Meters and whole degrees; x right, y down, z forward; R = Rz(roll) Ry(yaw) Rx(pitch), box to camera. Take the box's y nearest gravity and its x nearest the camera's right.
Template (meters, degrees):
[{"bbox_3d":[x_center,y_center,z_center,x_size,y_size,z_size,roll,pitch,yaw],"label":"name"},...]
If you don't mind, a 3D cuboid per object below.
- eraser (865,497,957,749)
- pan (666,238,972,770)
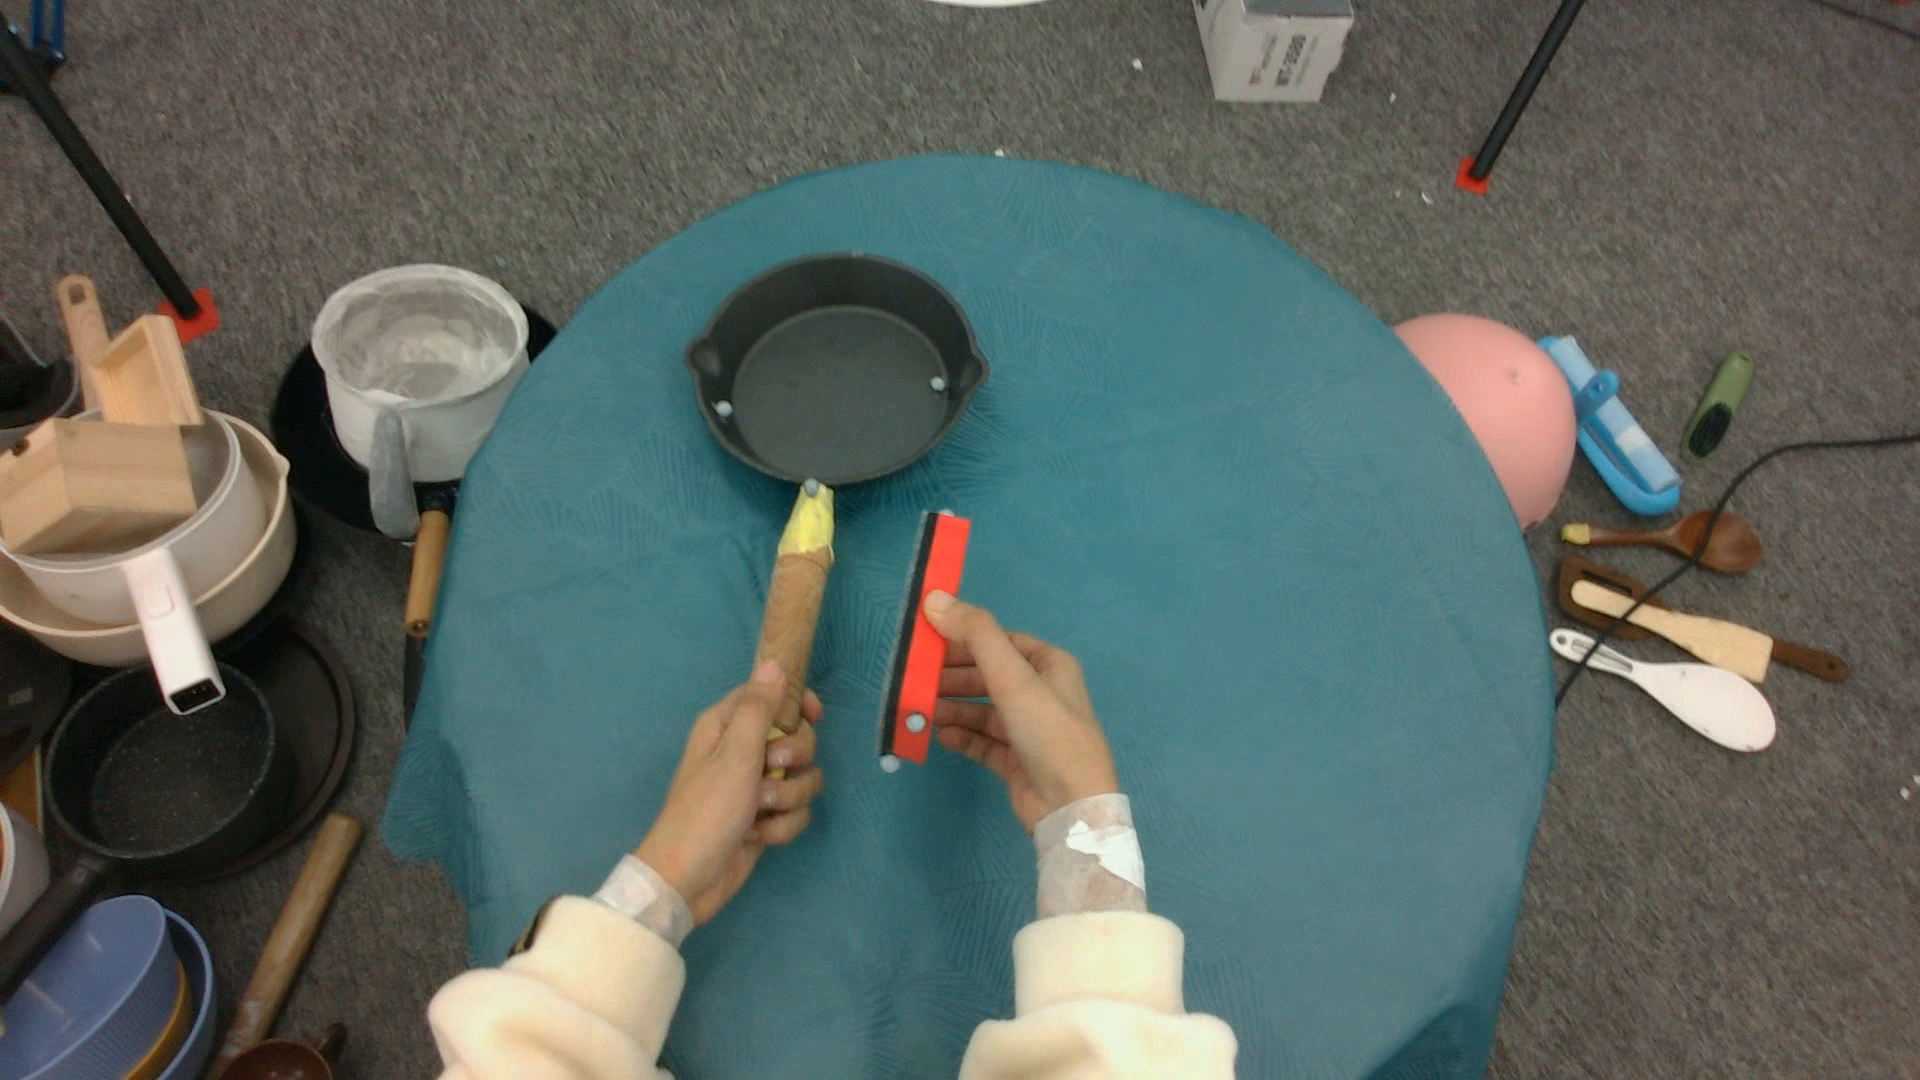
[{"bbox_3d":[-0.022,0.036,0.625,0.023,0.058,0.108,10,53,0],"label":"eraser"},{"bbox_3d":[-0.087,-0.030,0.717,0.169,0.049,0.325,6,59,3],"label":"pan"}]
